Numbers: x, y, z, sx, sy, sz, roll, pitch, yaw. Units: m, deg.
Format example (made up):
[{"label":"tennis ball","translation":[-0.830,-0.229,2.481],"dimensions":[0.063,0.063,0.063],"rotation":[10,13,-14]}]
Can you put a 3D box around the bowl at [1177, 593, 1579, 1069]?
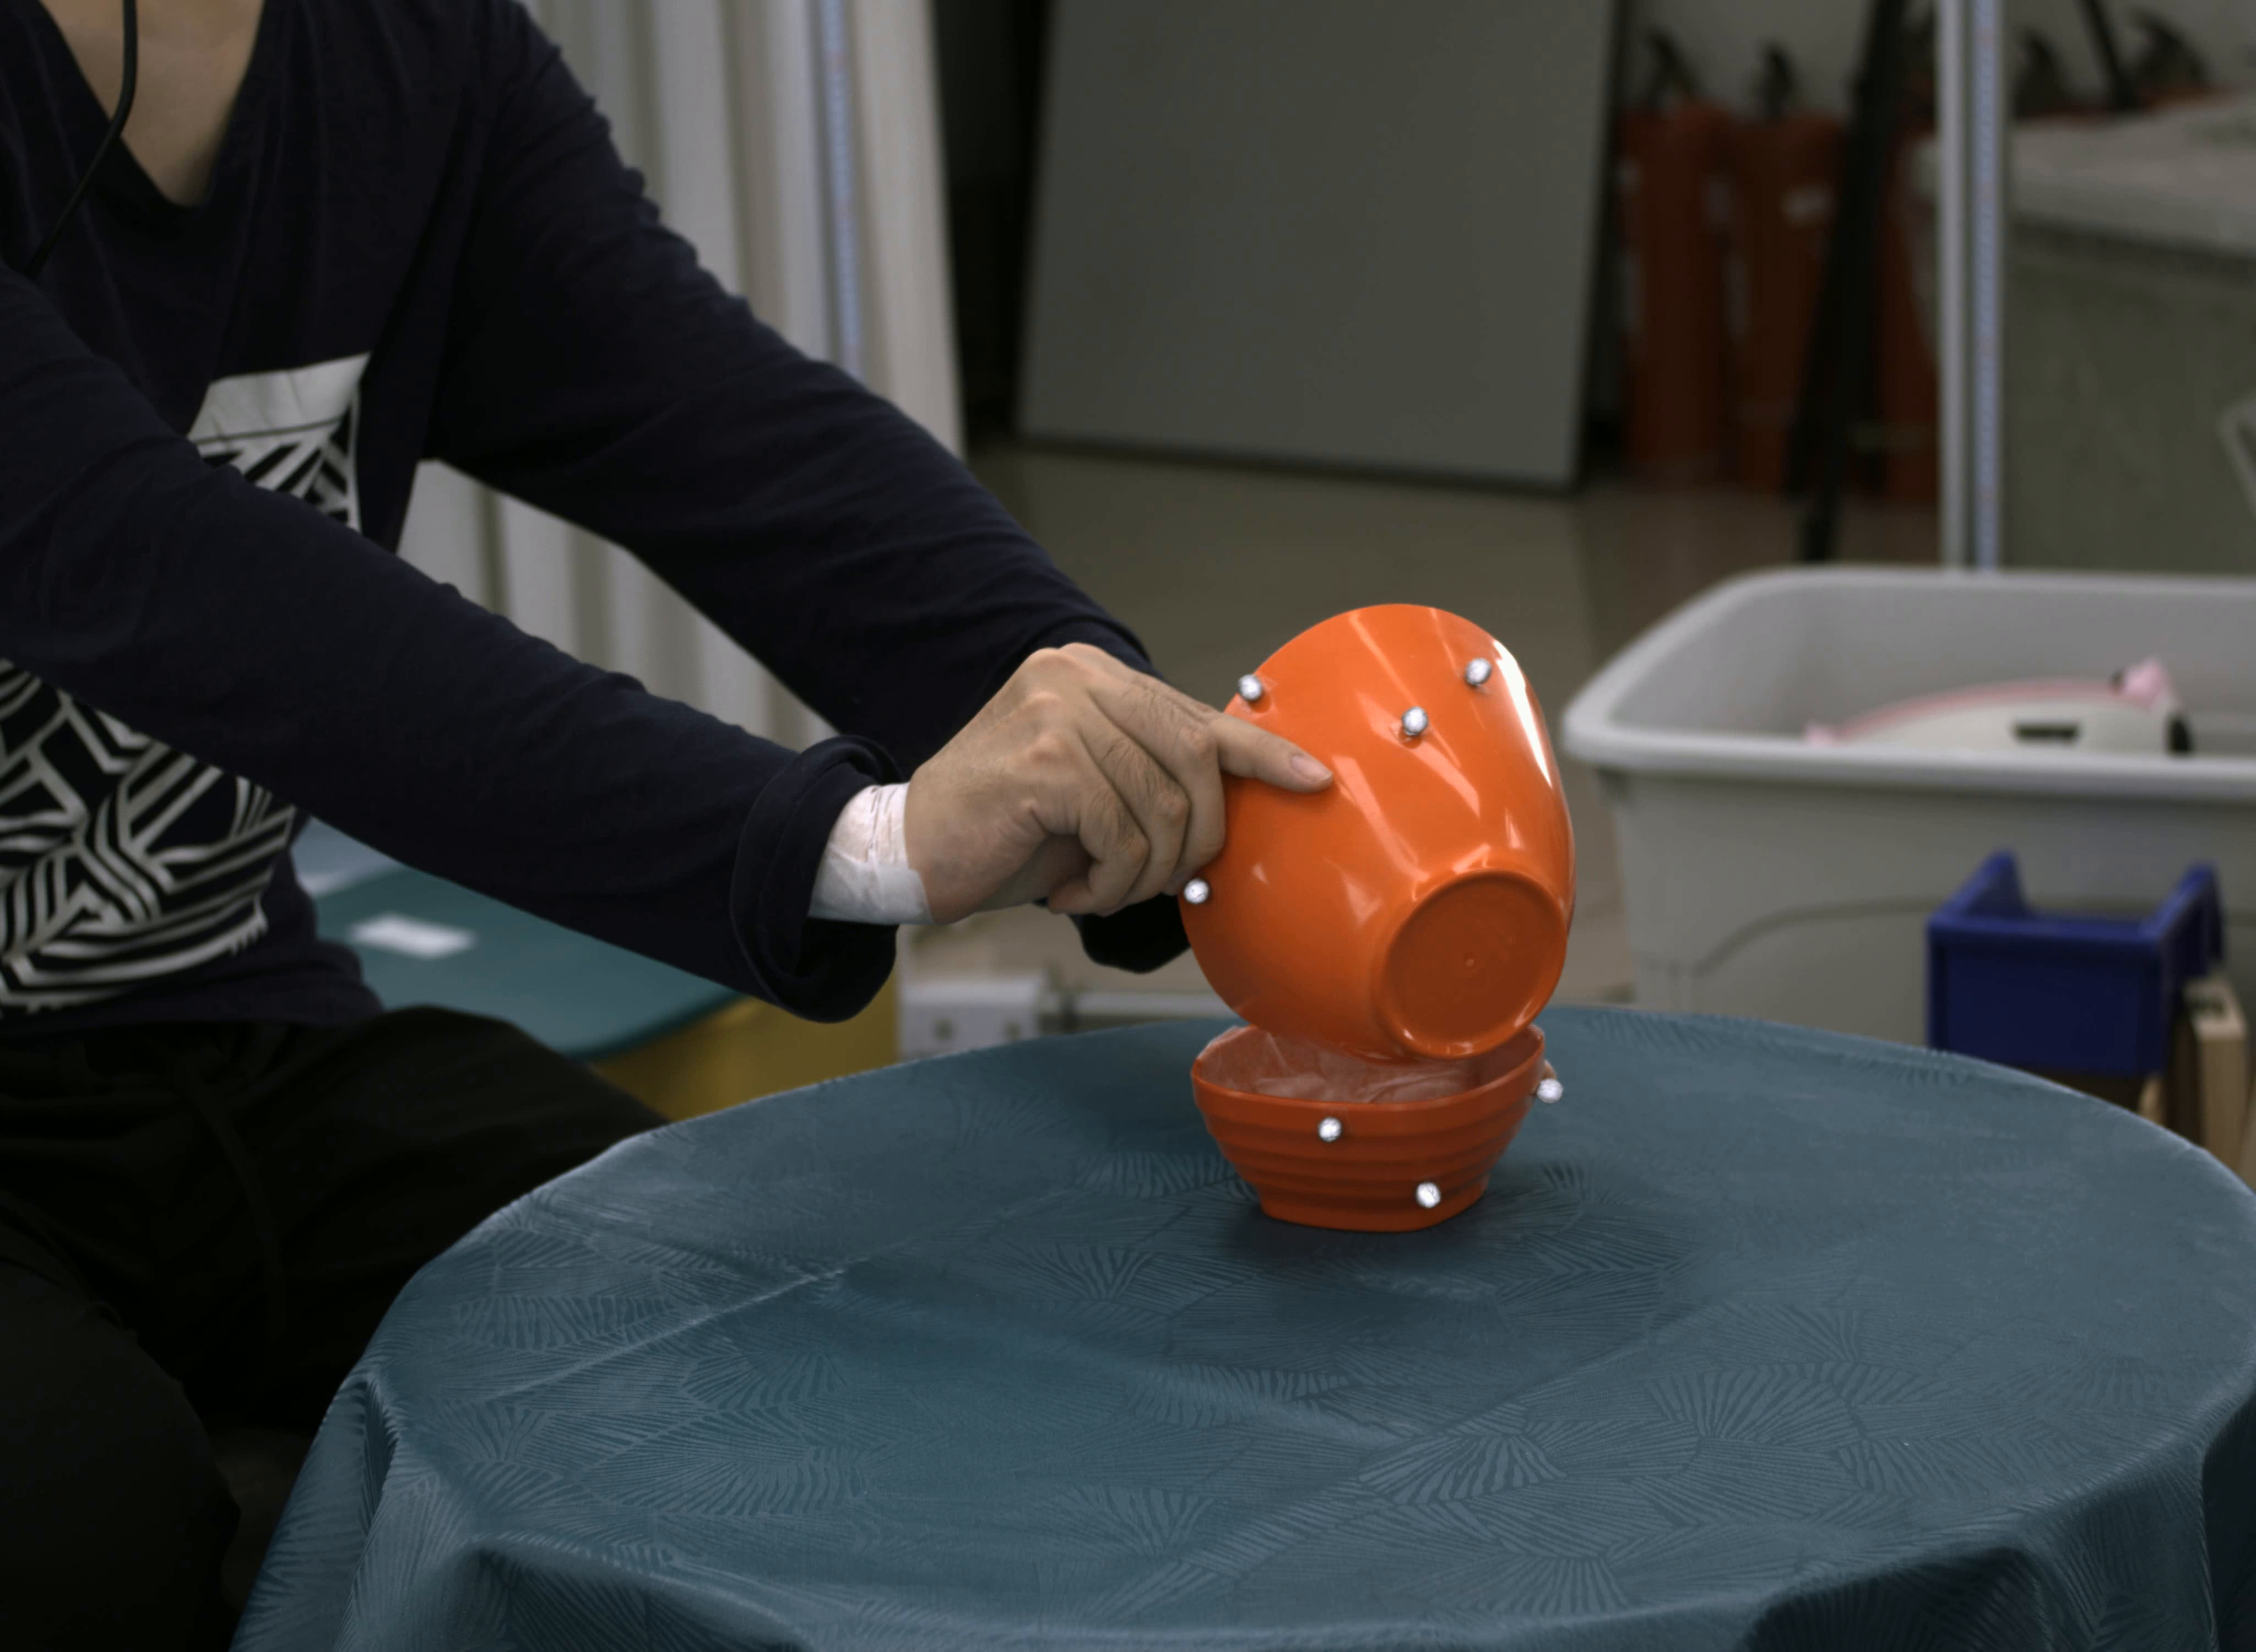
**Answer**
[{"label":"bowl","translation":[0.094,0.013,1.705],"dimensions":[0.145,0.149,0.106],"rotation":[-9,26,-22]}]

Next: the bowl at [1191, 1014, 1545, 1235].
[{"label":"bowl","translation":[0.079,0.096,1.743],"dimensions":[0.117,0.052,0.119],"rotation":[-4,16,0]}]
